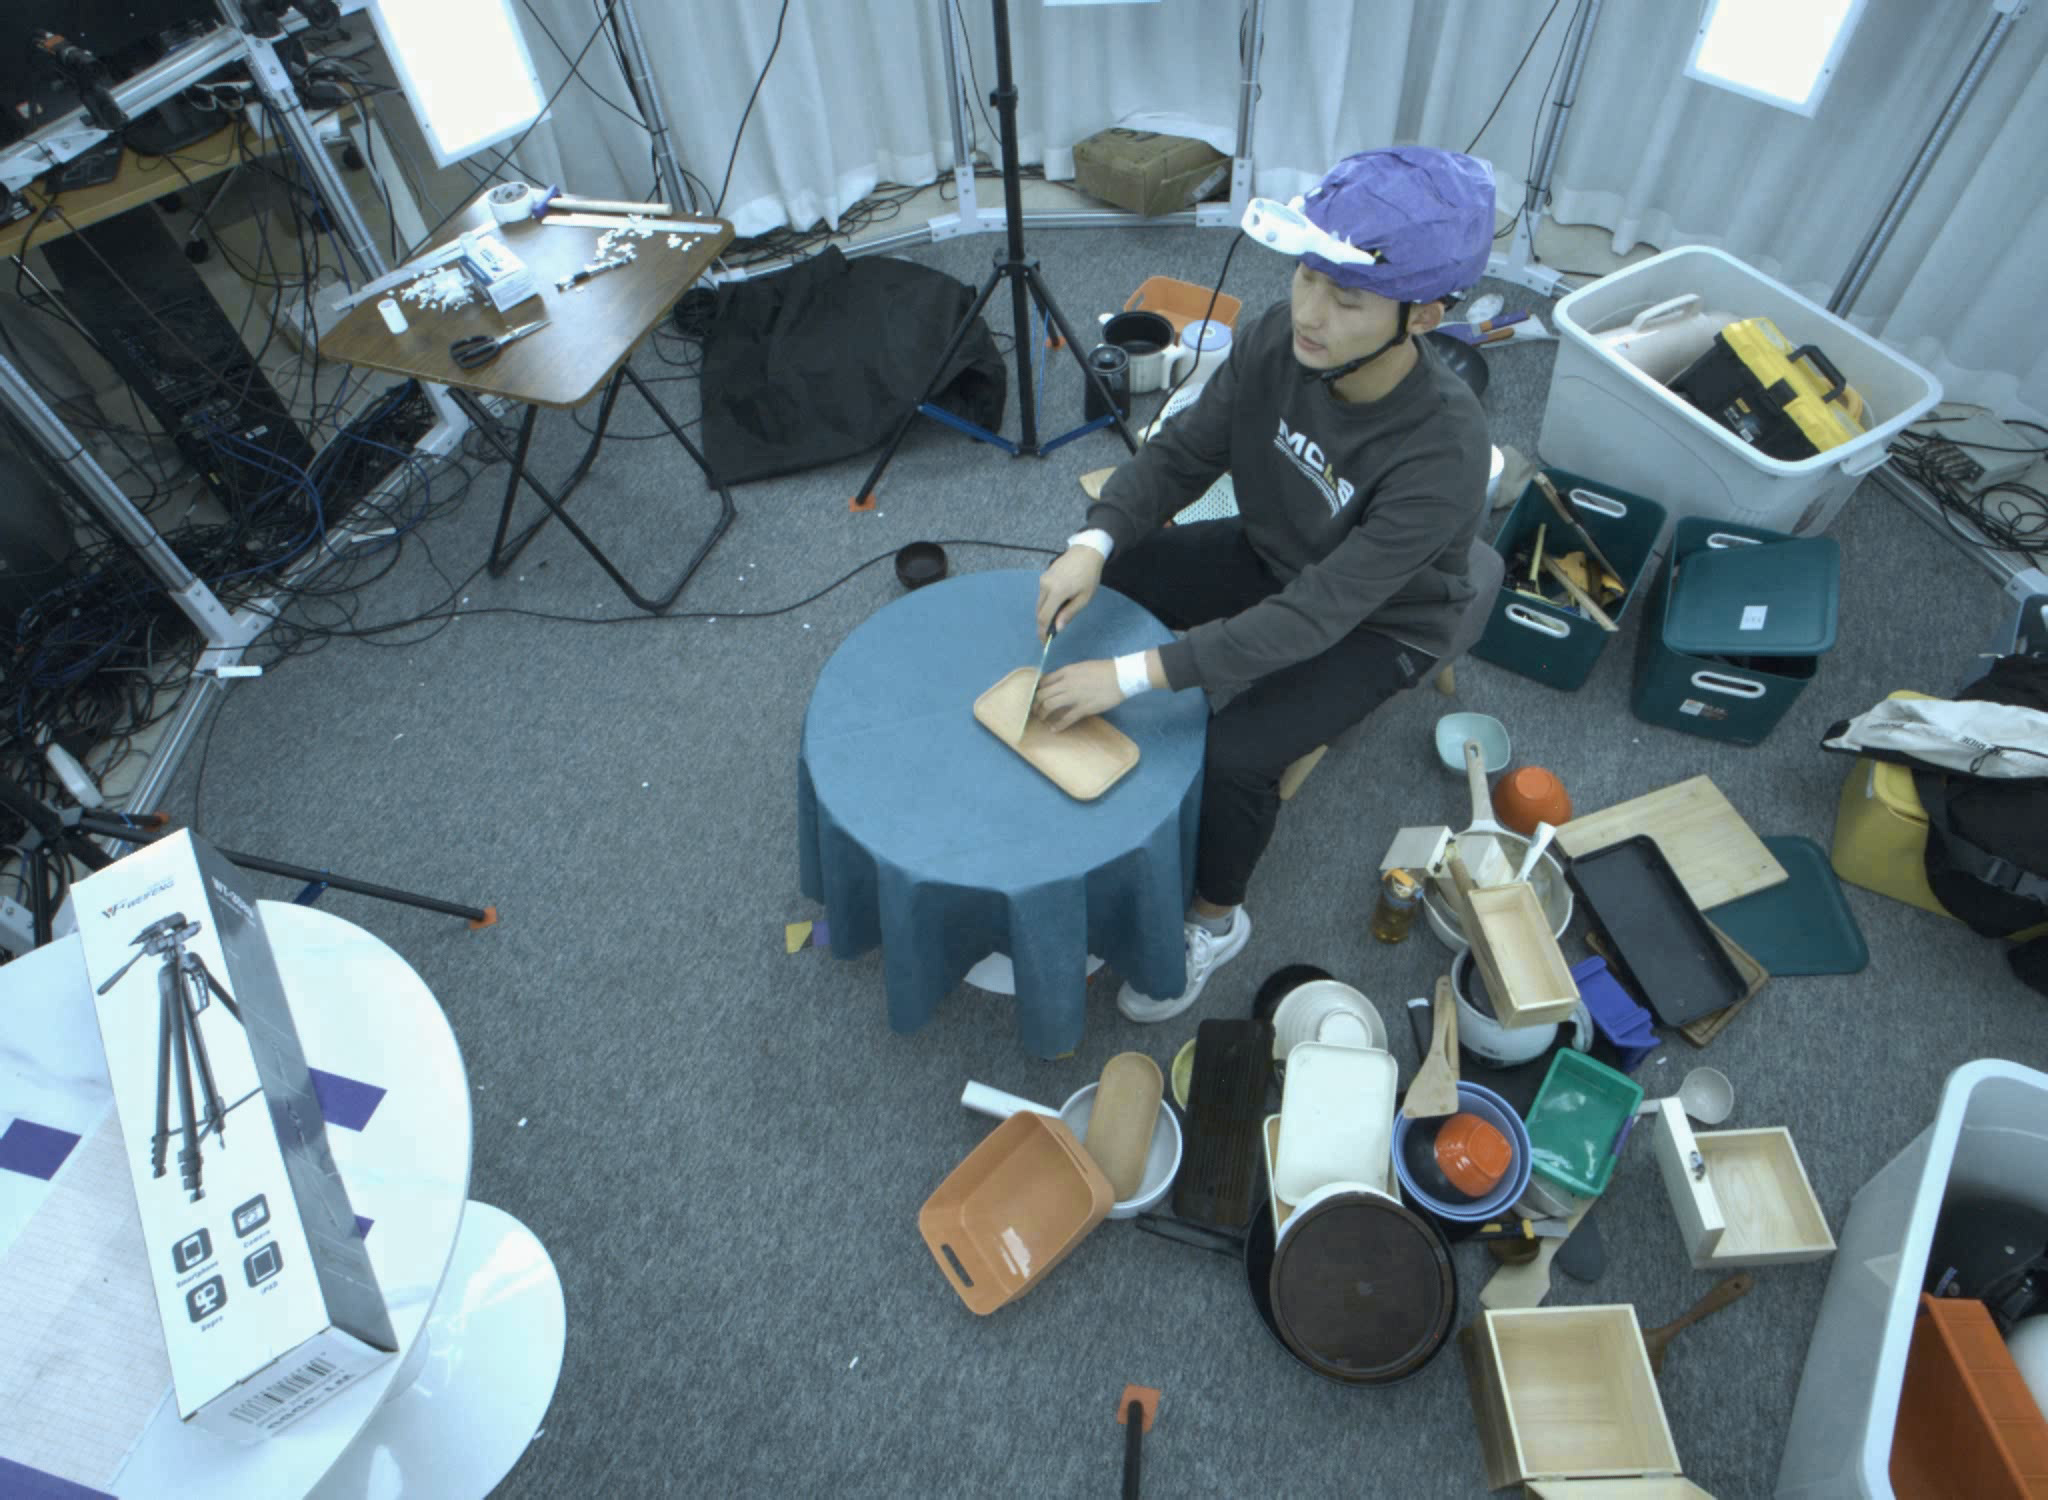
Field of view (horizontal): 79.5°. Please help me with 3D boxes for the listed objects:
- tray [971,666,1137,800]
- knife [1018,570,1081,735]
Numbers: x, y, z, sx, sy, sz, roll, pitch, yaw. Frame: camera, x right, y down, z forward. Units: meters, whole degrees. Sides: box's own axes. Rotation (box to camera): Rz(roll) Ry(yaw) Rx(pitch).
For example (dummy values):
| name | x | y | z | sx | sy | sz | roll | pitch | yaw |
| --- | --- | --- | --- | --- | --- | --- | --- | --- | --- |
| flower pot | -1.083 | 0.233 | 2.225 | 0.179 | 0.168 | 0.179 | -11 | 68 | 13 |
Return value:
| name | x | y | z | sx | sy | sz | roll | pitch | yaw |
| --- | --- | --- | --- | --- | --- | --- | --- | --- | --- |
| tray | 0.042 | -0.027 | 1.803 | 0.131 | 0.023 | 0.246 | -38 | 61 | -26 |
| knife | 0.034 | -0.146 | 1.832 | 0.027 | 0.081 | 0.288 | 20 | 65 | -2 |
